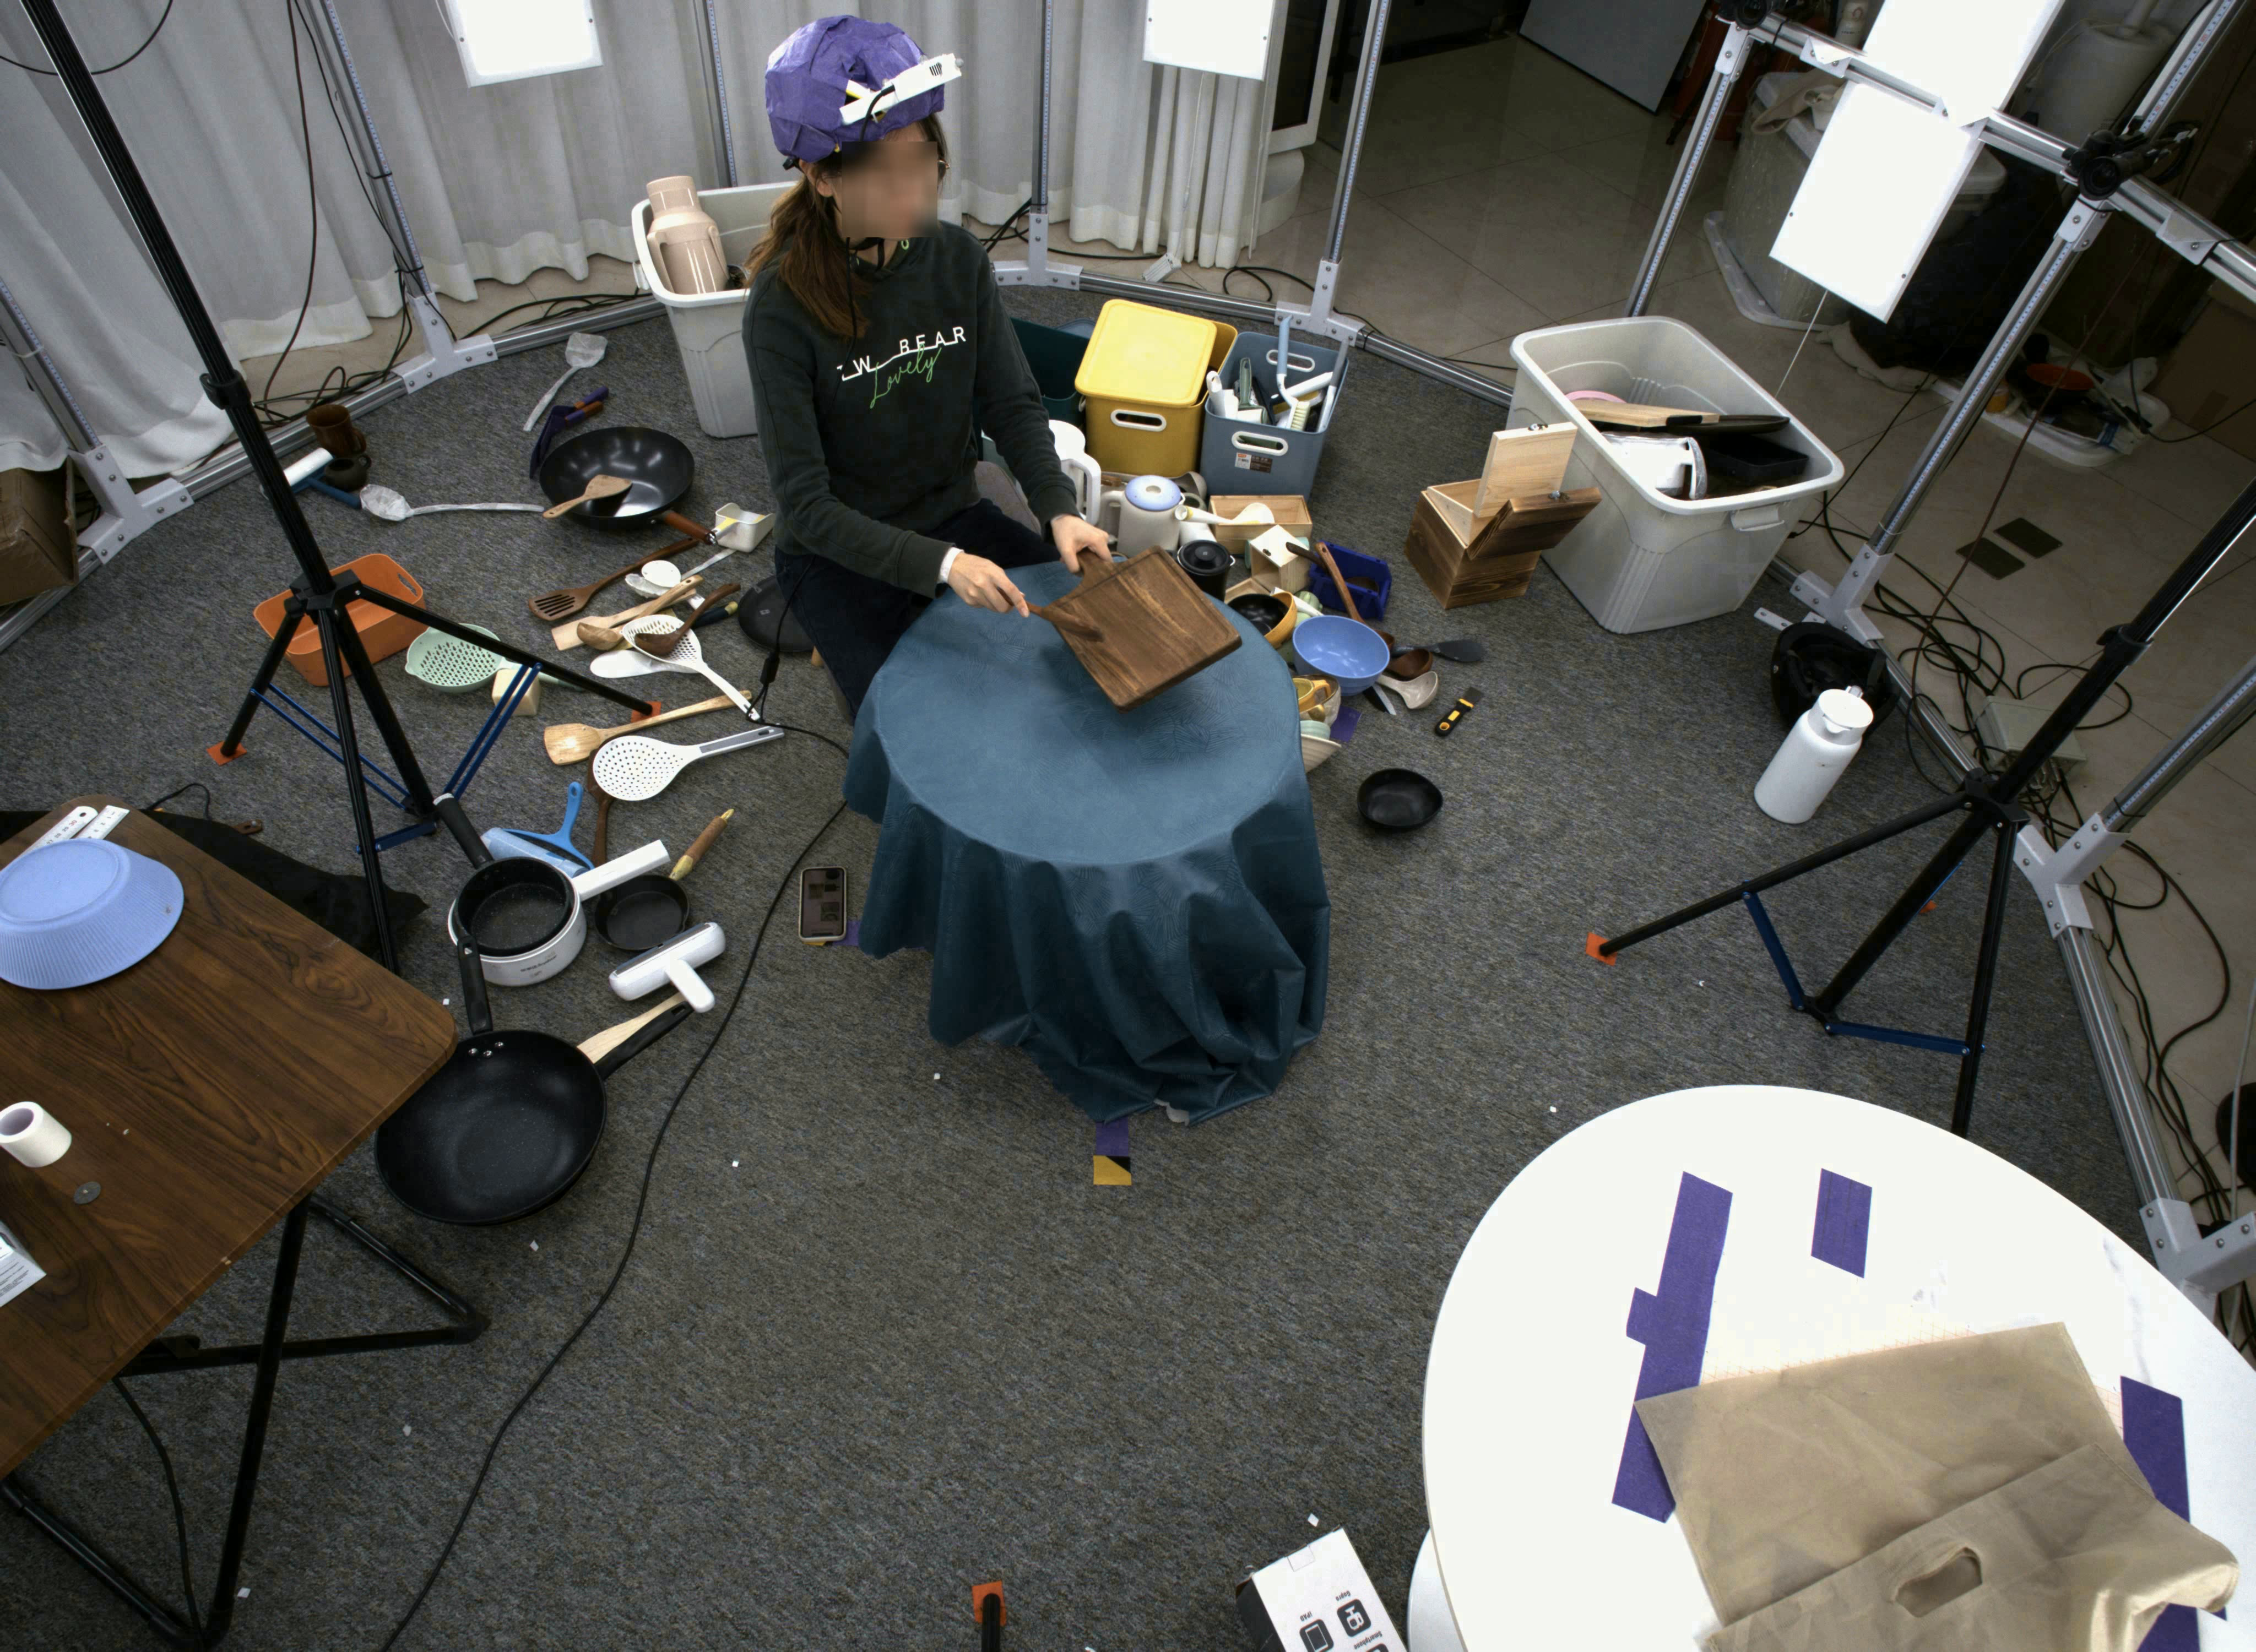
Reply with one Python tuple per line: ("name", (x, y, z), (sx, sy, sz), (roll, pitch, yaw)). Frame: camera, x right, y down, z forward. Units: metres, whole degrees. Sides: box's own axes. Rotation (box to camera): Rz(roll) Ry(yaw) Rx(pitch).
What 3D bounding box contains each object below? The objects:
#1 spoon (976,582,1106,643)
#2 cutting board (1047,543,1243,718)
("spoon", (-0.123, -0.295, 1.782), (0.218, 0.074, 0.017), (27, 93, 25))
("cutting board", (-0.002, -0.310, 1.846), (0.201, 0.022, 0.360), (-31, 49, -4))
